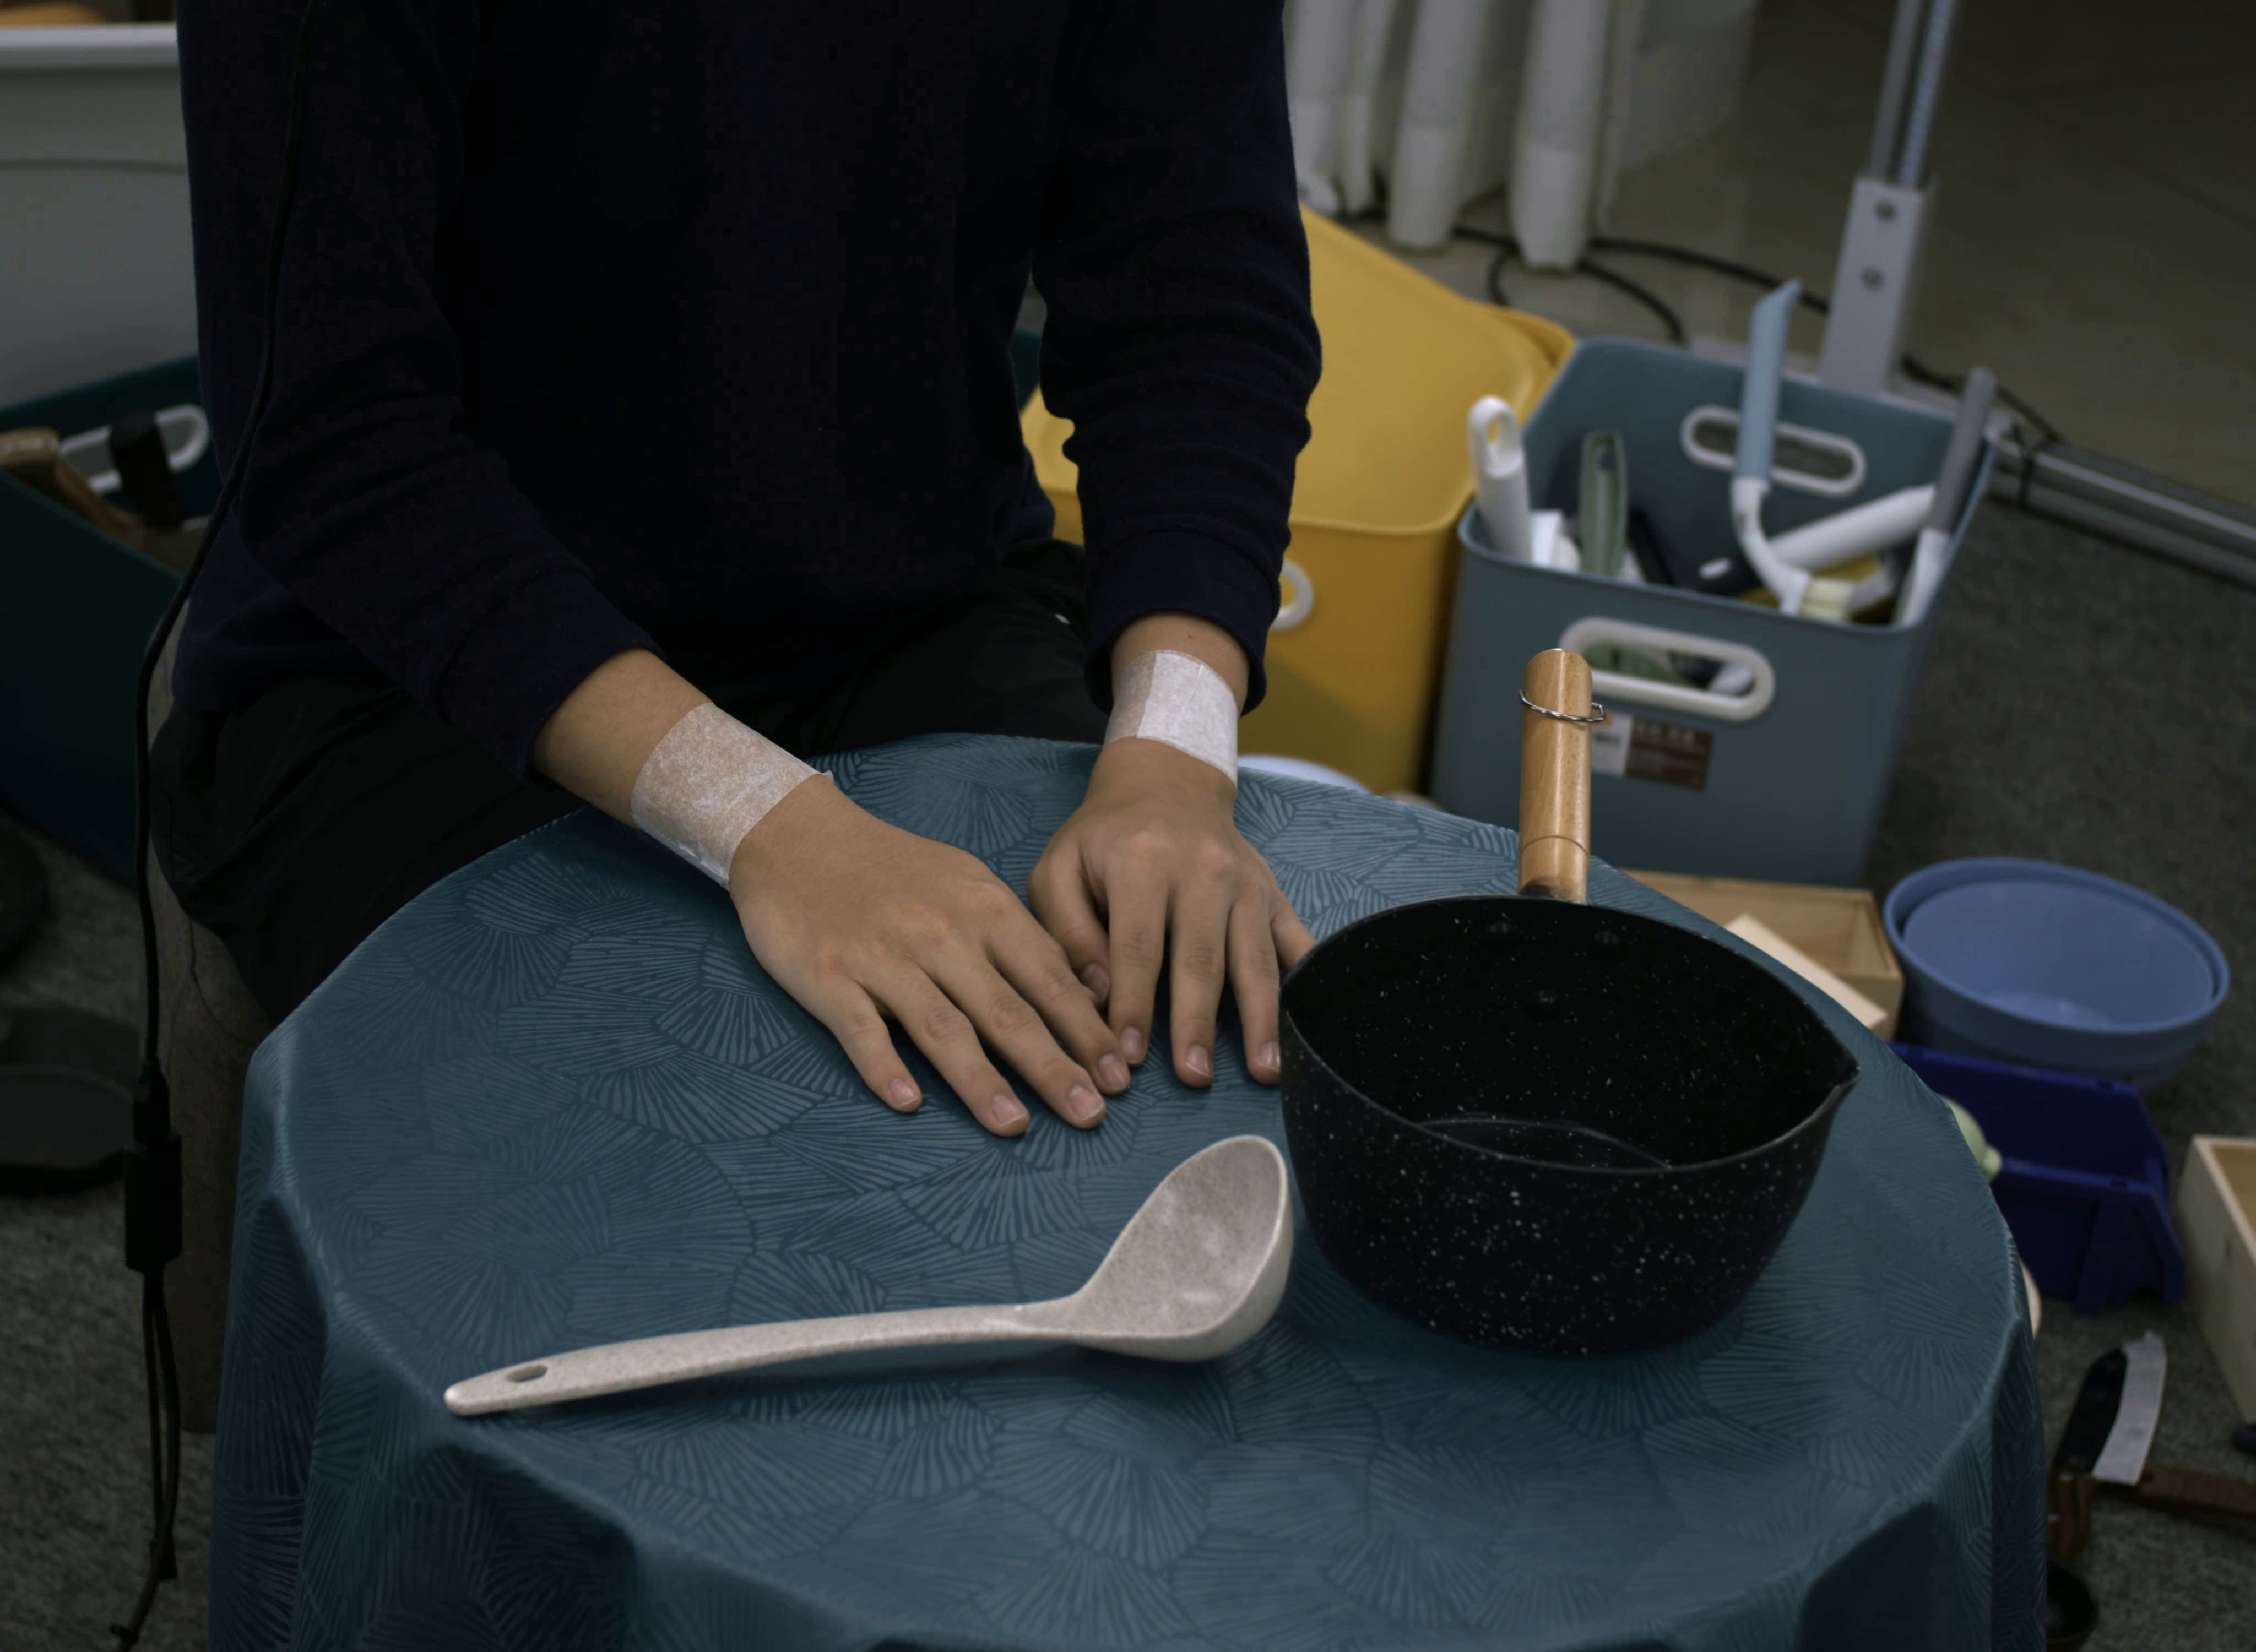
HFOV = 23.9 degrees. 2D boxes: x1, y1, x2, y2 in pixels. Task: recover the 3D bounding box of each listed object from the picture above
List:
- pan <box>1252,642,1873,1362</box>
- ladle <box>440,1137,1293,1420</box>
[{"bbox_3d":[0.144,0.057,1.847,0.207,0.108,0.345,5,28,0],"label":"pan"},{"bbox_3d":[-0.081,0.143,1.676,0.273,0.069,0.090,-3,23,-17],"label":"ladle"}]
